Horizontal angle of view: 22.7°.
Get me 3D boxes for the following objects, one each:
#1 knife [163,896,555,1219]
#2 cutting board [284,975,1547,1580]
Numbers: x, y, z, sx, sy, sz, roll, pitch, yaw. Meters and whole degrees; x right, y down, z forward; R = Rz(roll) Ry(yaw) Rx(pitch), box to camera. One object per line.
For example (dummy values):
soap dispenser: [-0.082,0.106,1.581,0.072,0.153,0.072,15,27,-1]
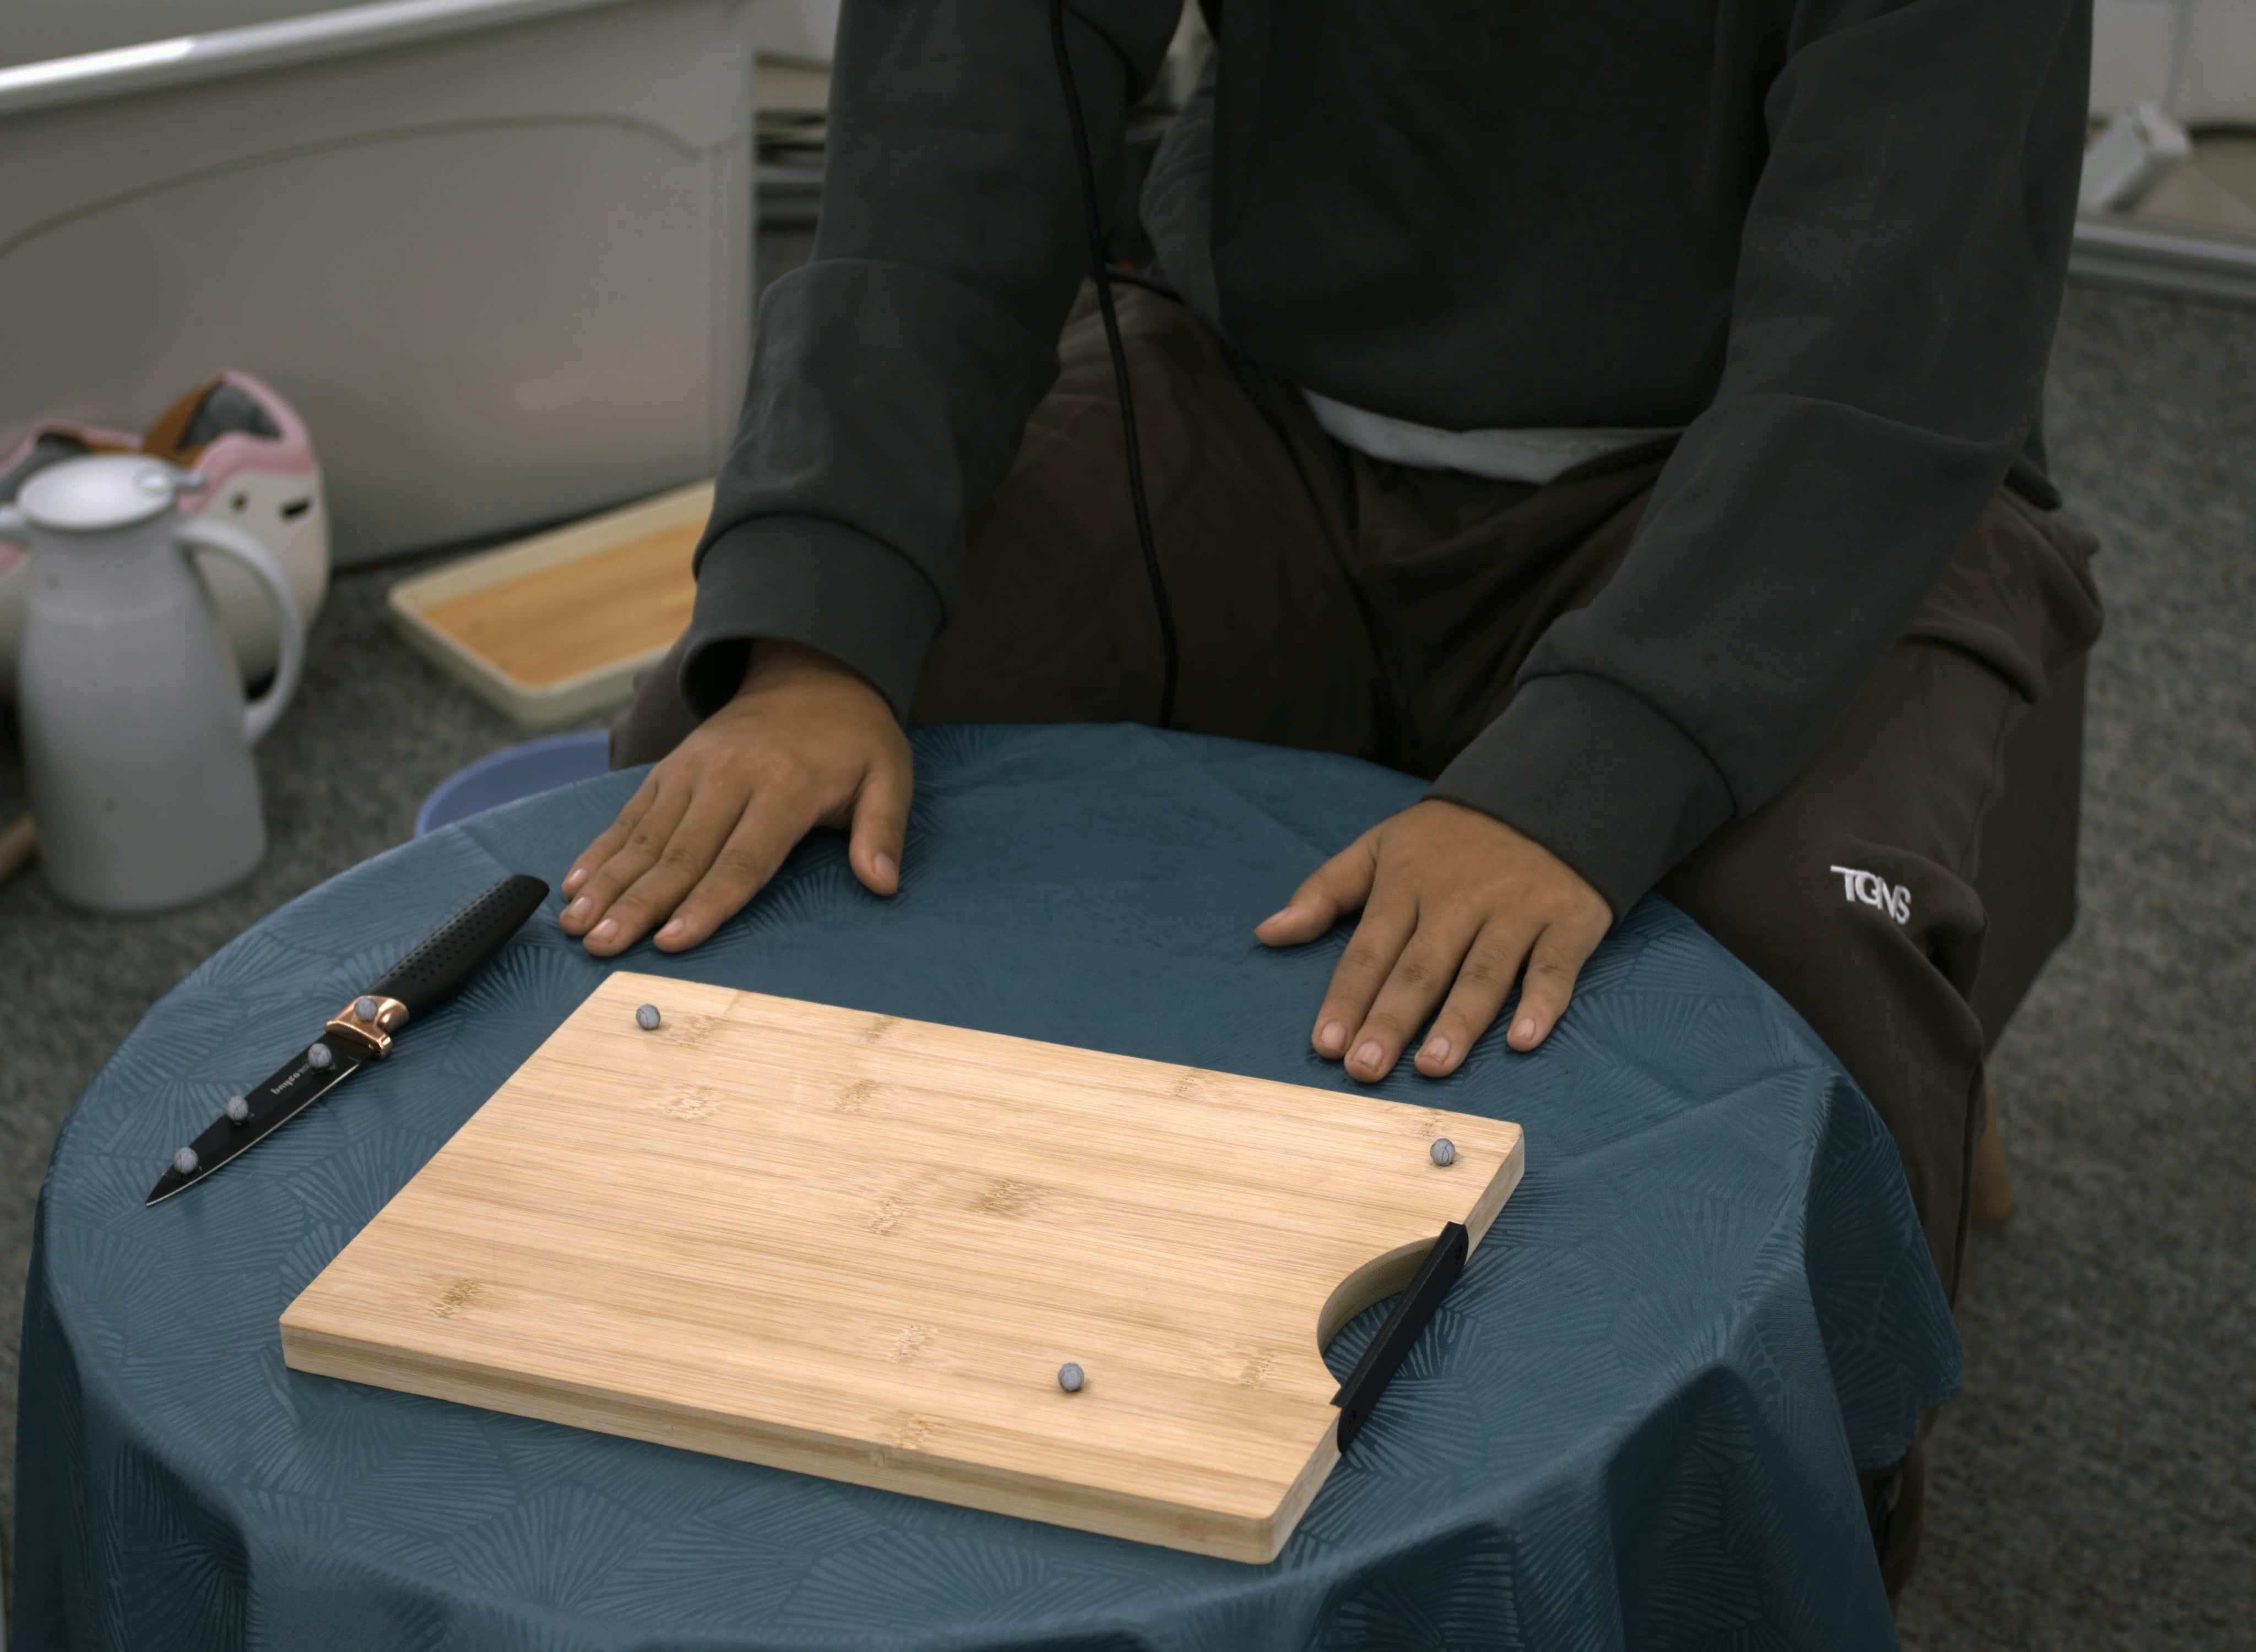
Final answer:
knife: [-0.269,0.080,1.958,0.026,0.017,0.229,18,34,24]
cutting board: [-0.065,0.138,1.821,0.346,0.023,0.255,8,29,20]
